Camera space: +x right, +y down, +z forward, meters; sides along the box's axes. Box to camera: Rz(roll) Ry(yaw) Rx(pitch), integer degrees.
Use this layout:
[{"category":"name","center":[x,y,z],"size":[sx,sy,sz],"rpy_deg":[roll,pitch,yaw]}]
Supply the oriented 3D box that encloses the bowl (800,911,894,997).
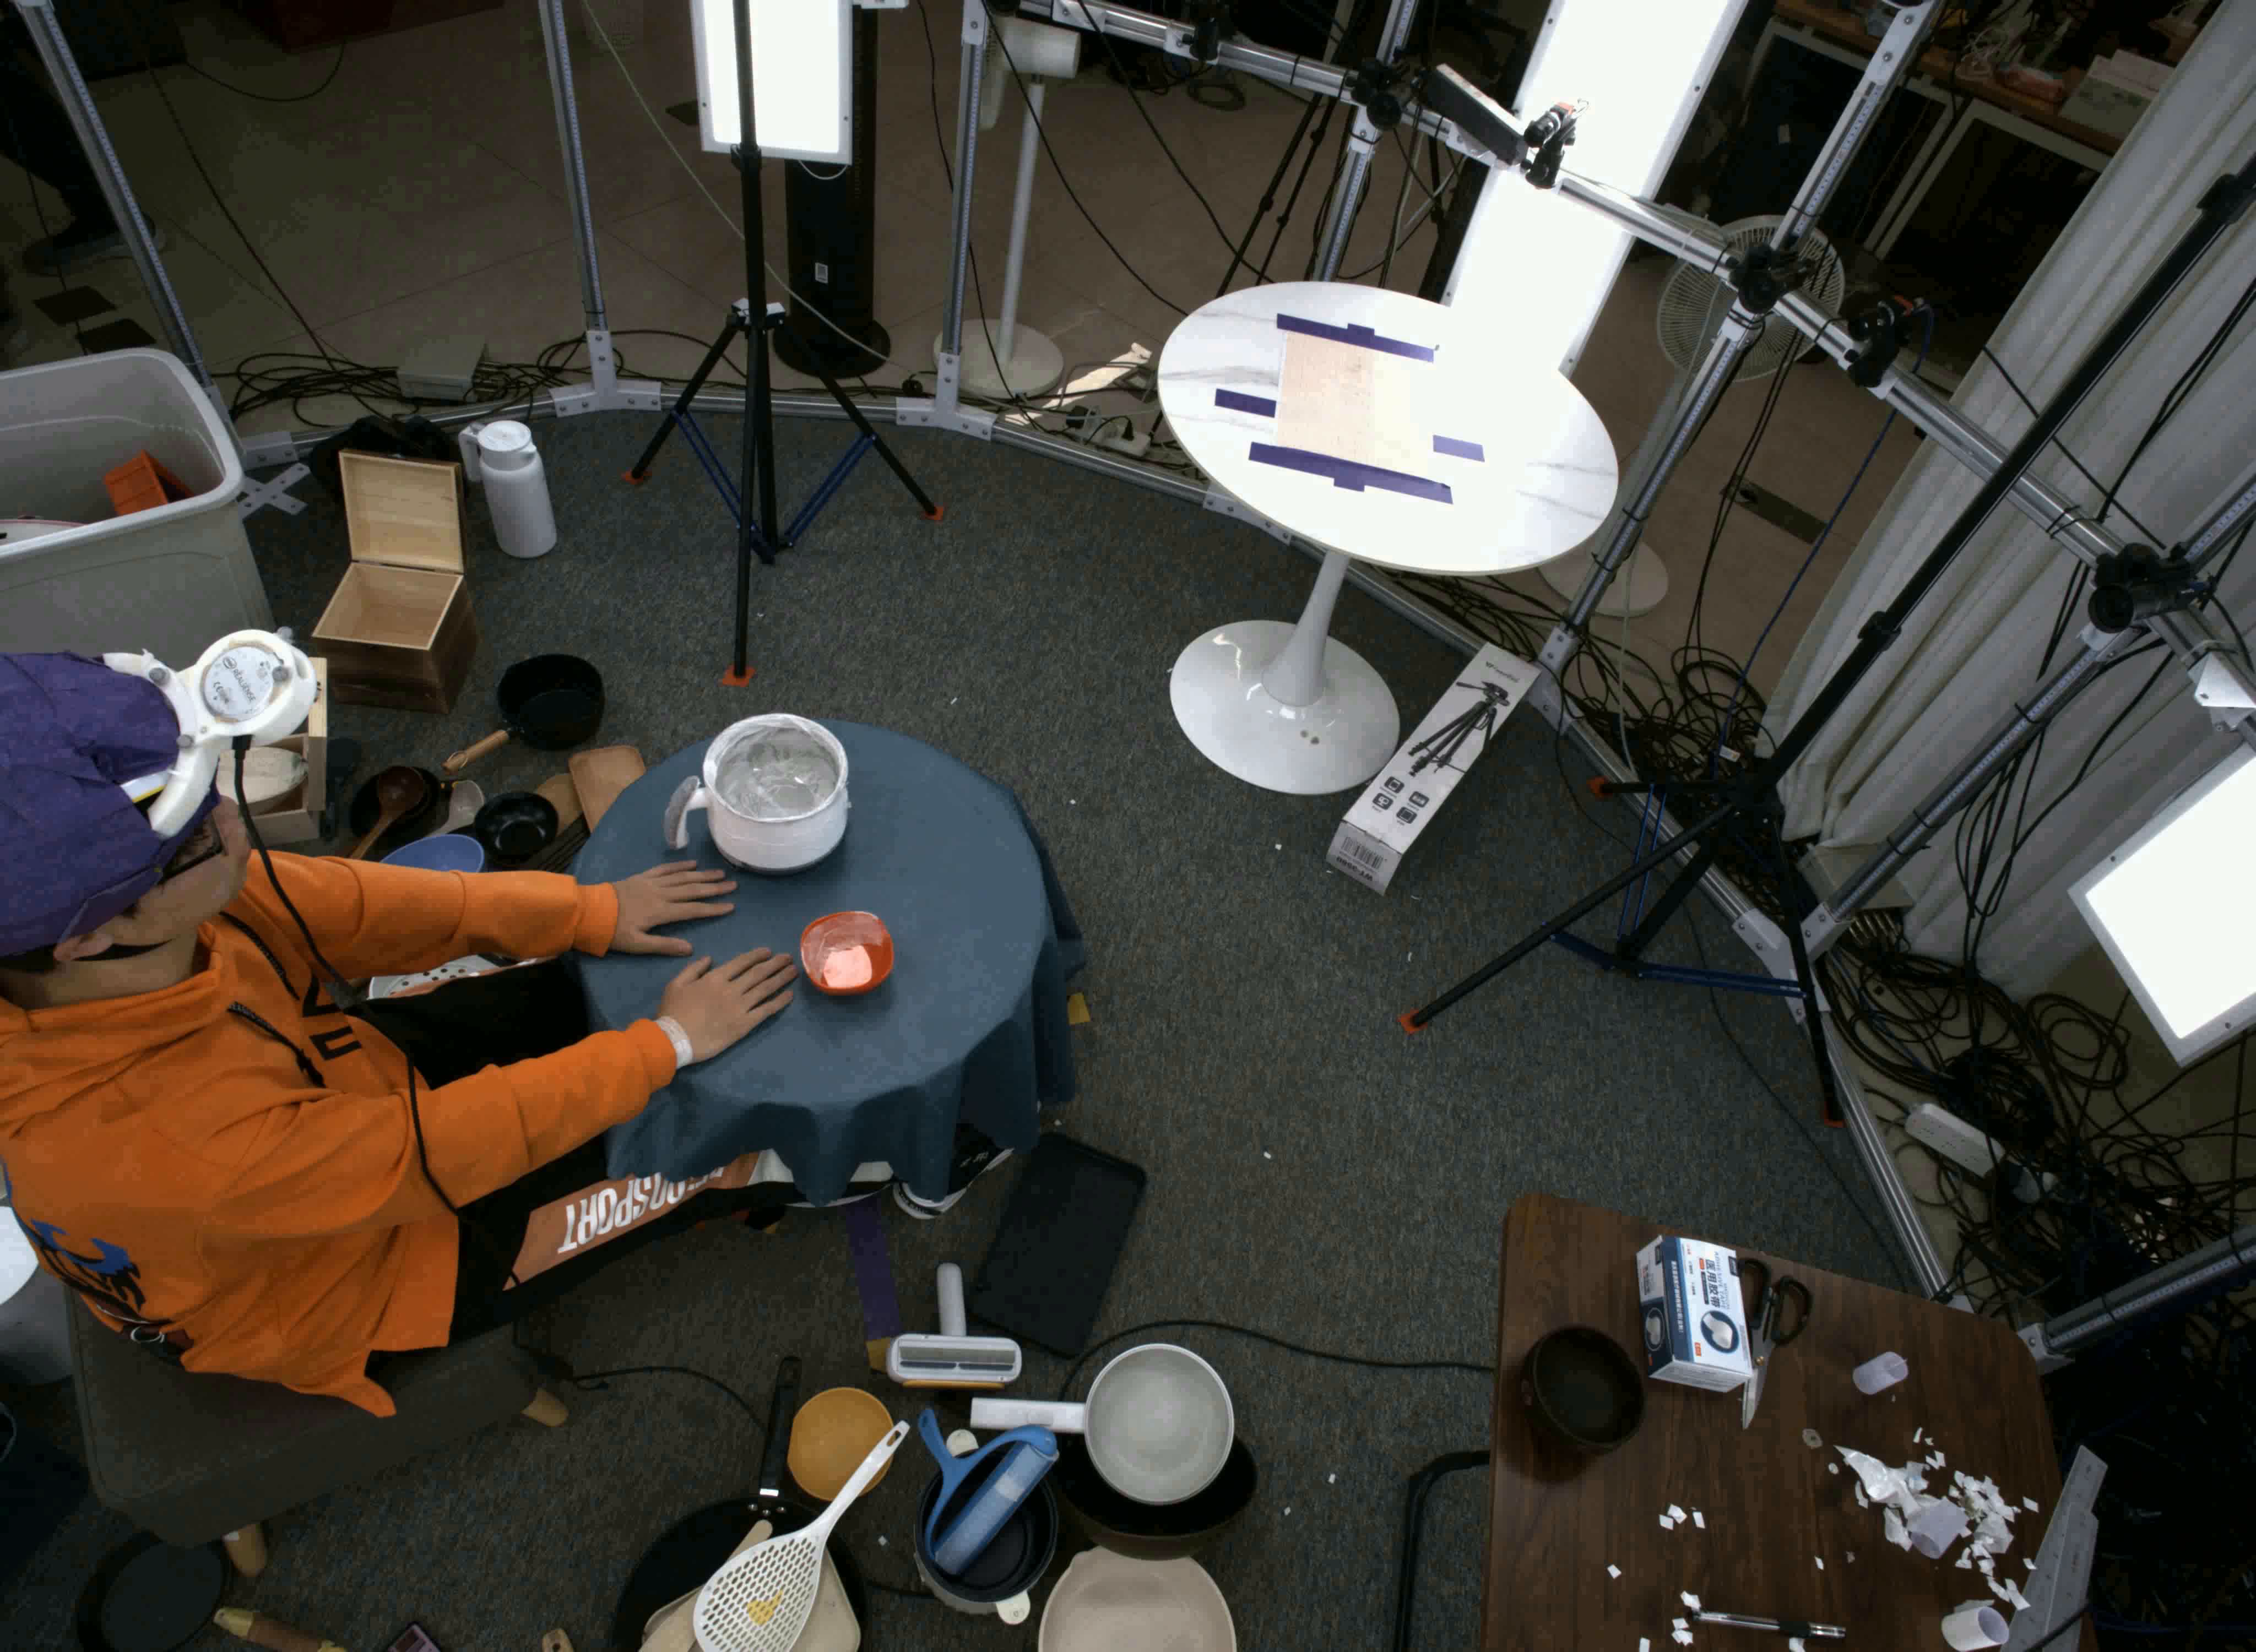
[{"category":"bowl","center":[-0.343,0.162,1.580],"size":[0.119,0.052,0.117],"rpy_deg":[9,52,-10]}]

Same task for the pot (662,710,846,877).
[{"category":"pot","center":[-0.474,-0.032,1.635],"size":[0.235,0.139,0.174],"rpy_deg":[-14,57,-23]}]
